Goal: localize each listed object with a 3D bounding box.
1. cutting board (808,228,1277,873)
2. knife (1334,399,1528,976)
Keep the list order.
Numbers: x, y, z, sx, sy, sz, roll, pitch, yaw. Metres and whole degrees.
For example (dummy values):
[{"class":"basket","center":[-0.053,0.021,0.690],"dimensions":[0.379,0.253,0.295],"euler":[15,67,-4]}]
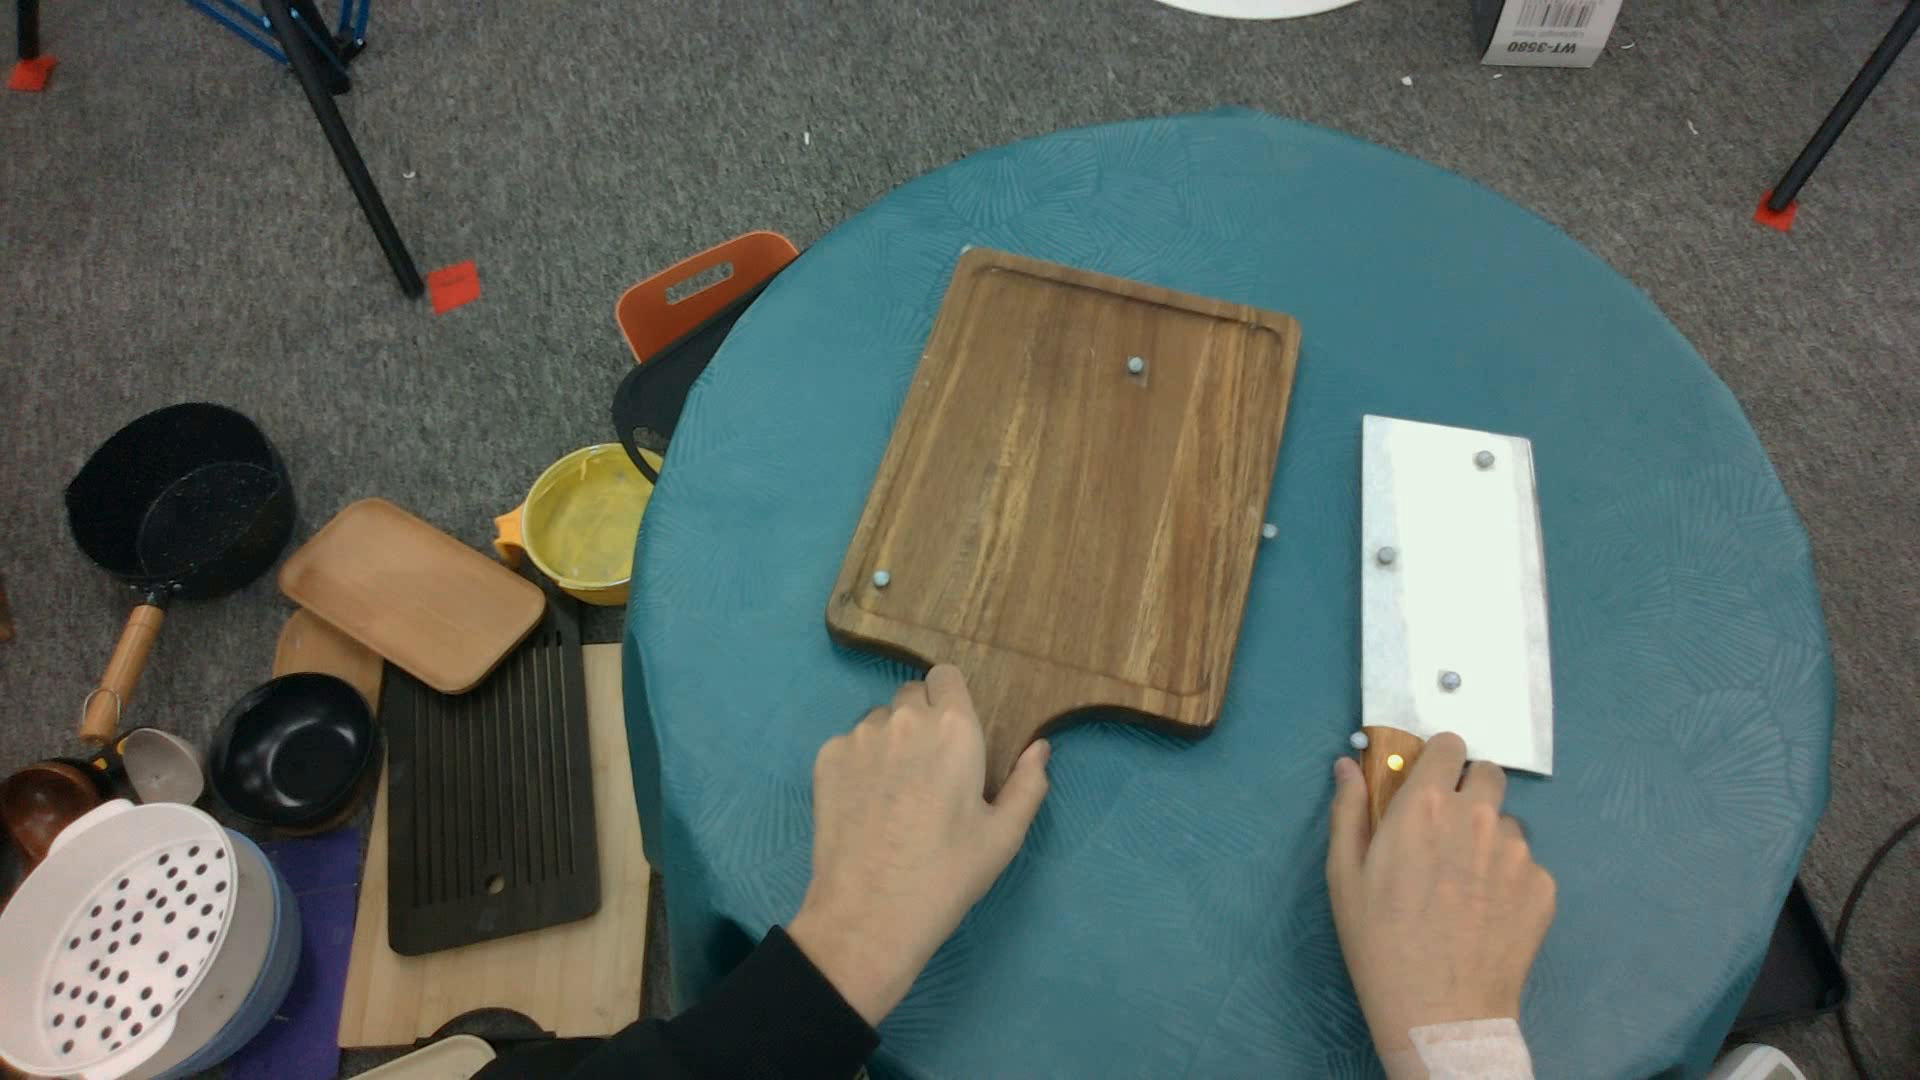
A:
[{"class":"cutting board","center":[0.038,-0.006,0.690],"dimensions":[0.201,0.023,0.353],"euler":[14,62,6]},{"class":"knife","center":[0.228,0.059,0.666],"dimensions":[0.093,0.021,0.307],"euler":[9,61,-1]}]
